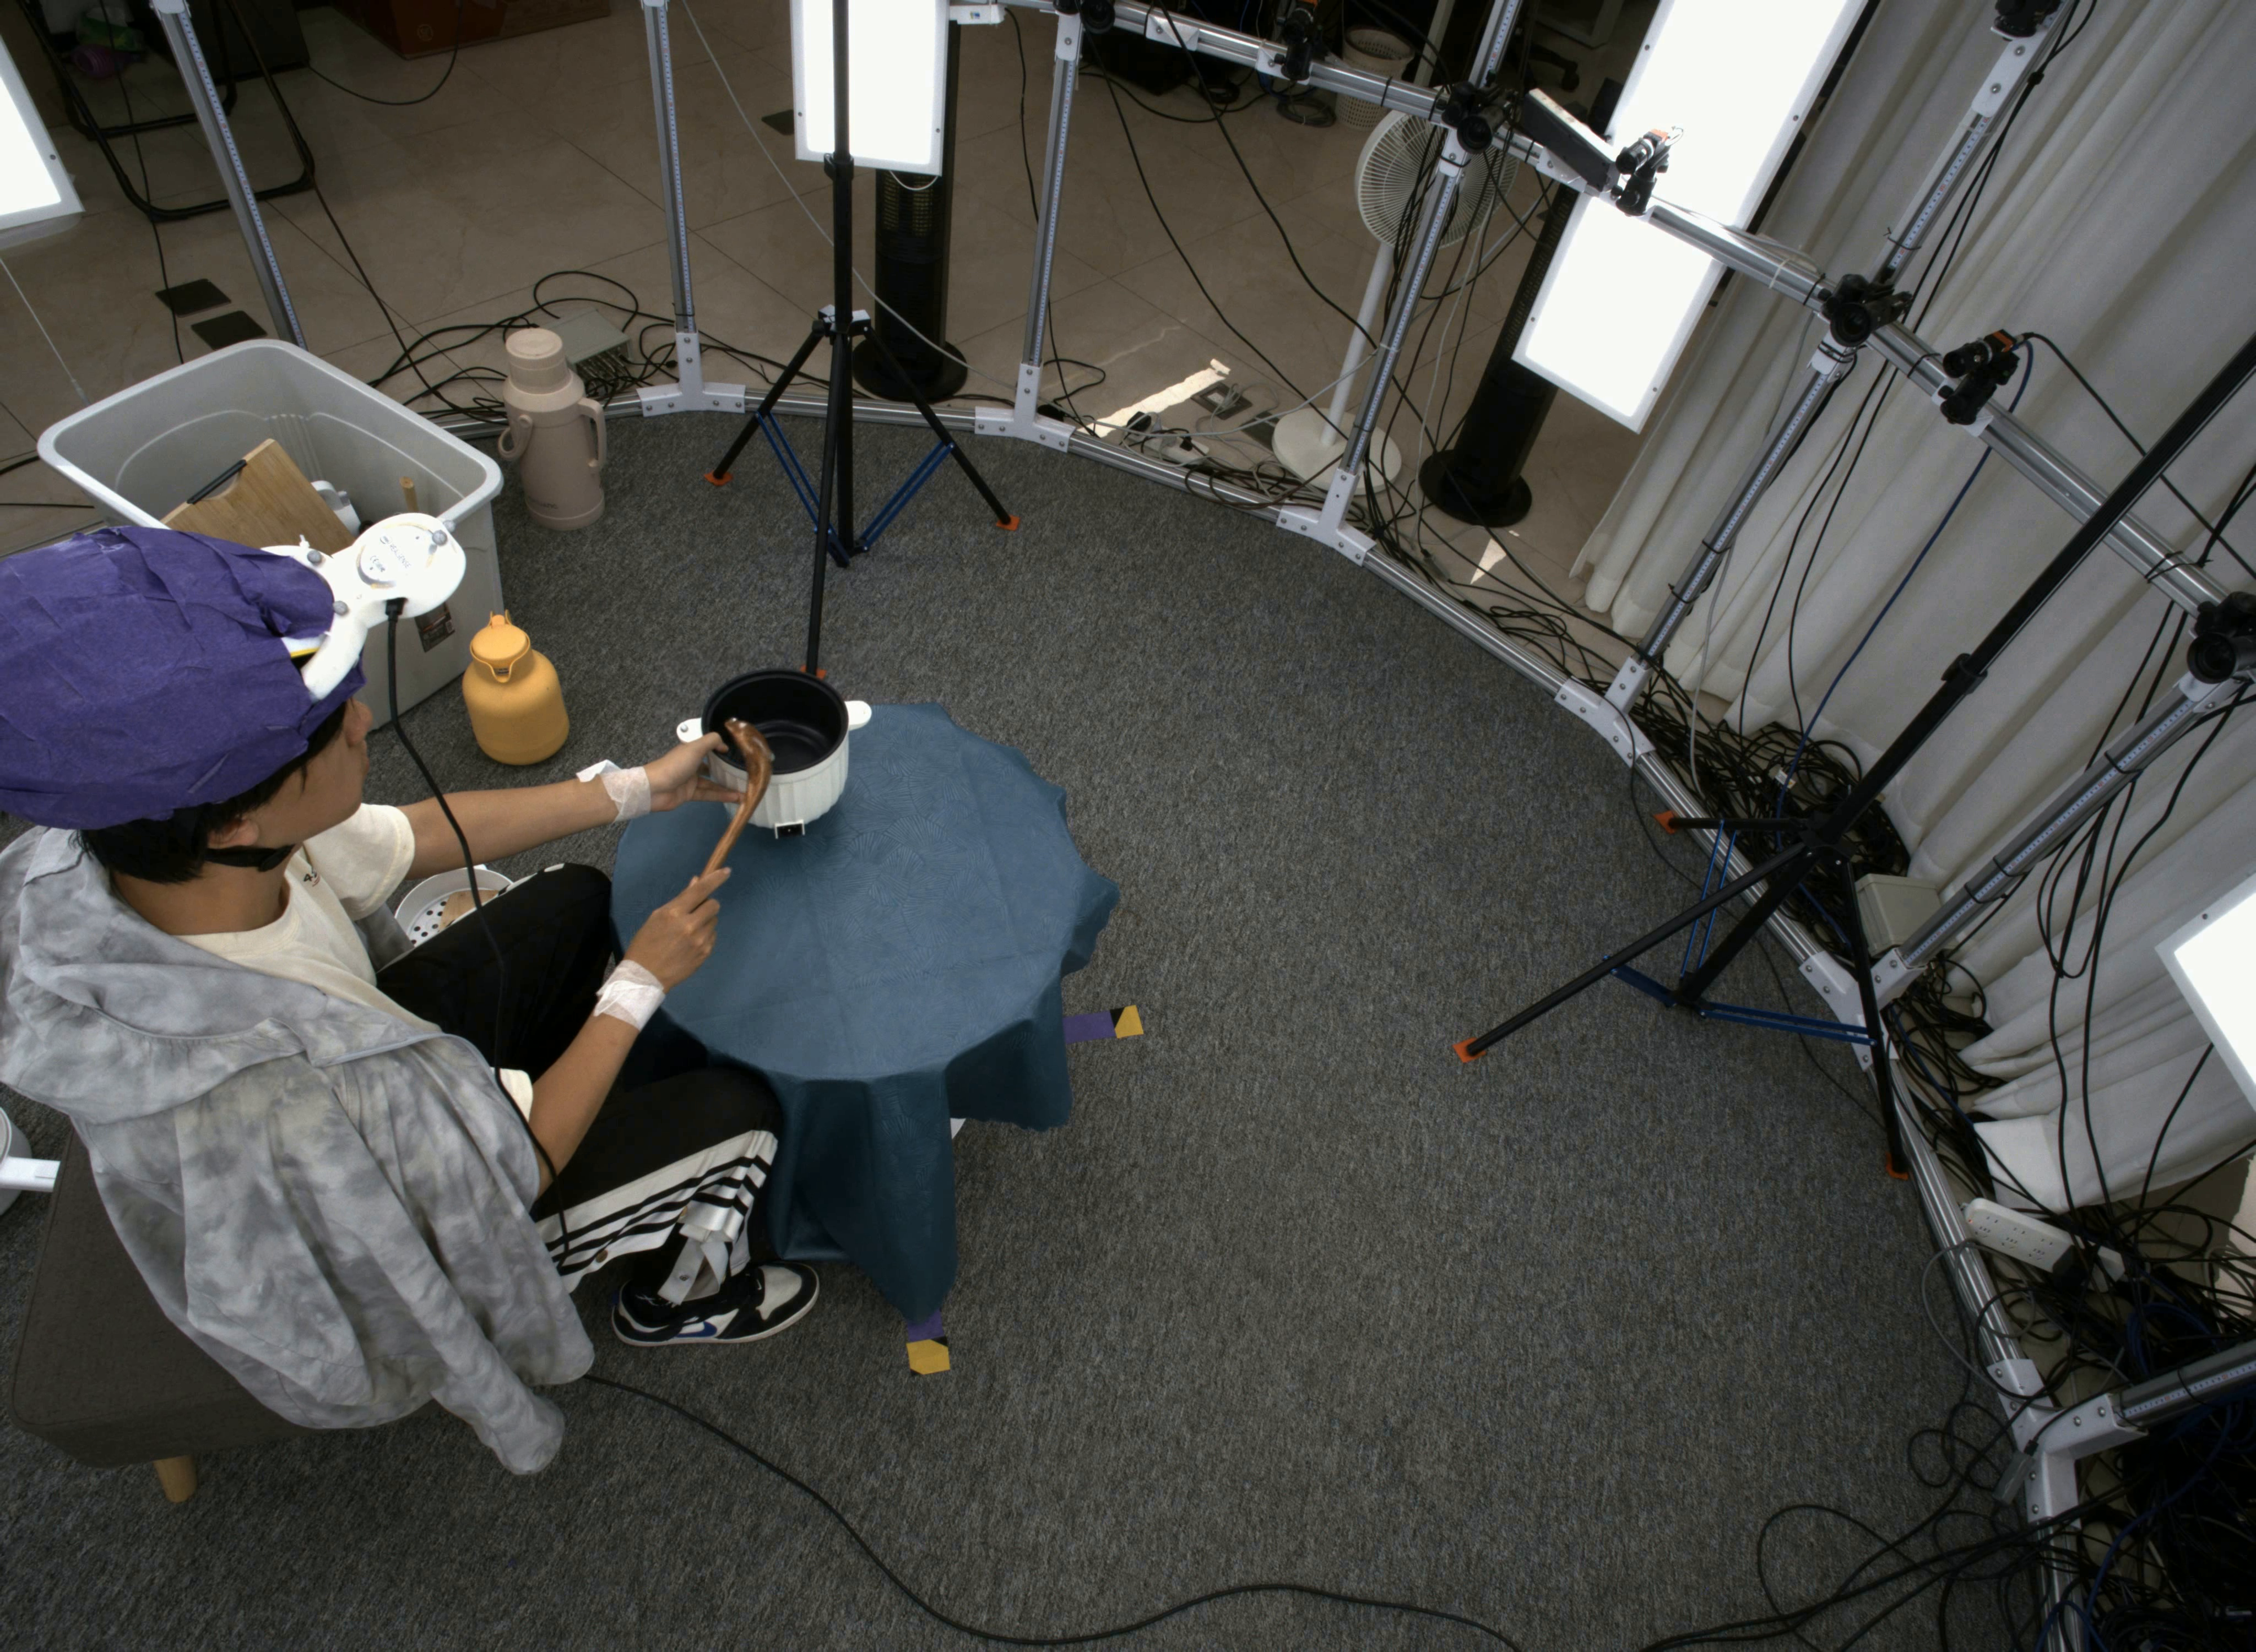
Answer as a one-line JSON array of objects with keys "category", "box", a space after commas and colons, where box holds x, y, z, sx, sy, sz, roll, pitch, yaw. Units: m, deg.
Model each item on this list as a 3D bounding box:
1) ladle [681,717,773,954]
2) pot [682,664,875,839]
[{"category": "ladle", "box": [-0.477, 0.004, 1.474, 0.075, 0.083, 0.274, 17, 72, 9]}, {"category": "pot", "box": [-0.446, -0.098, 1.665, 0.241, 0.145, 0.186, -8, 57, -19]}]
